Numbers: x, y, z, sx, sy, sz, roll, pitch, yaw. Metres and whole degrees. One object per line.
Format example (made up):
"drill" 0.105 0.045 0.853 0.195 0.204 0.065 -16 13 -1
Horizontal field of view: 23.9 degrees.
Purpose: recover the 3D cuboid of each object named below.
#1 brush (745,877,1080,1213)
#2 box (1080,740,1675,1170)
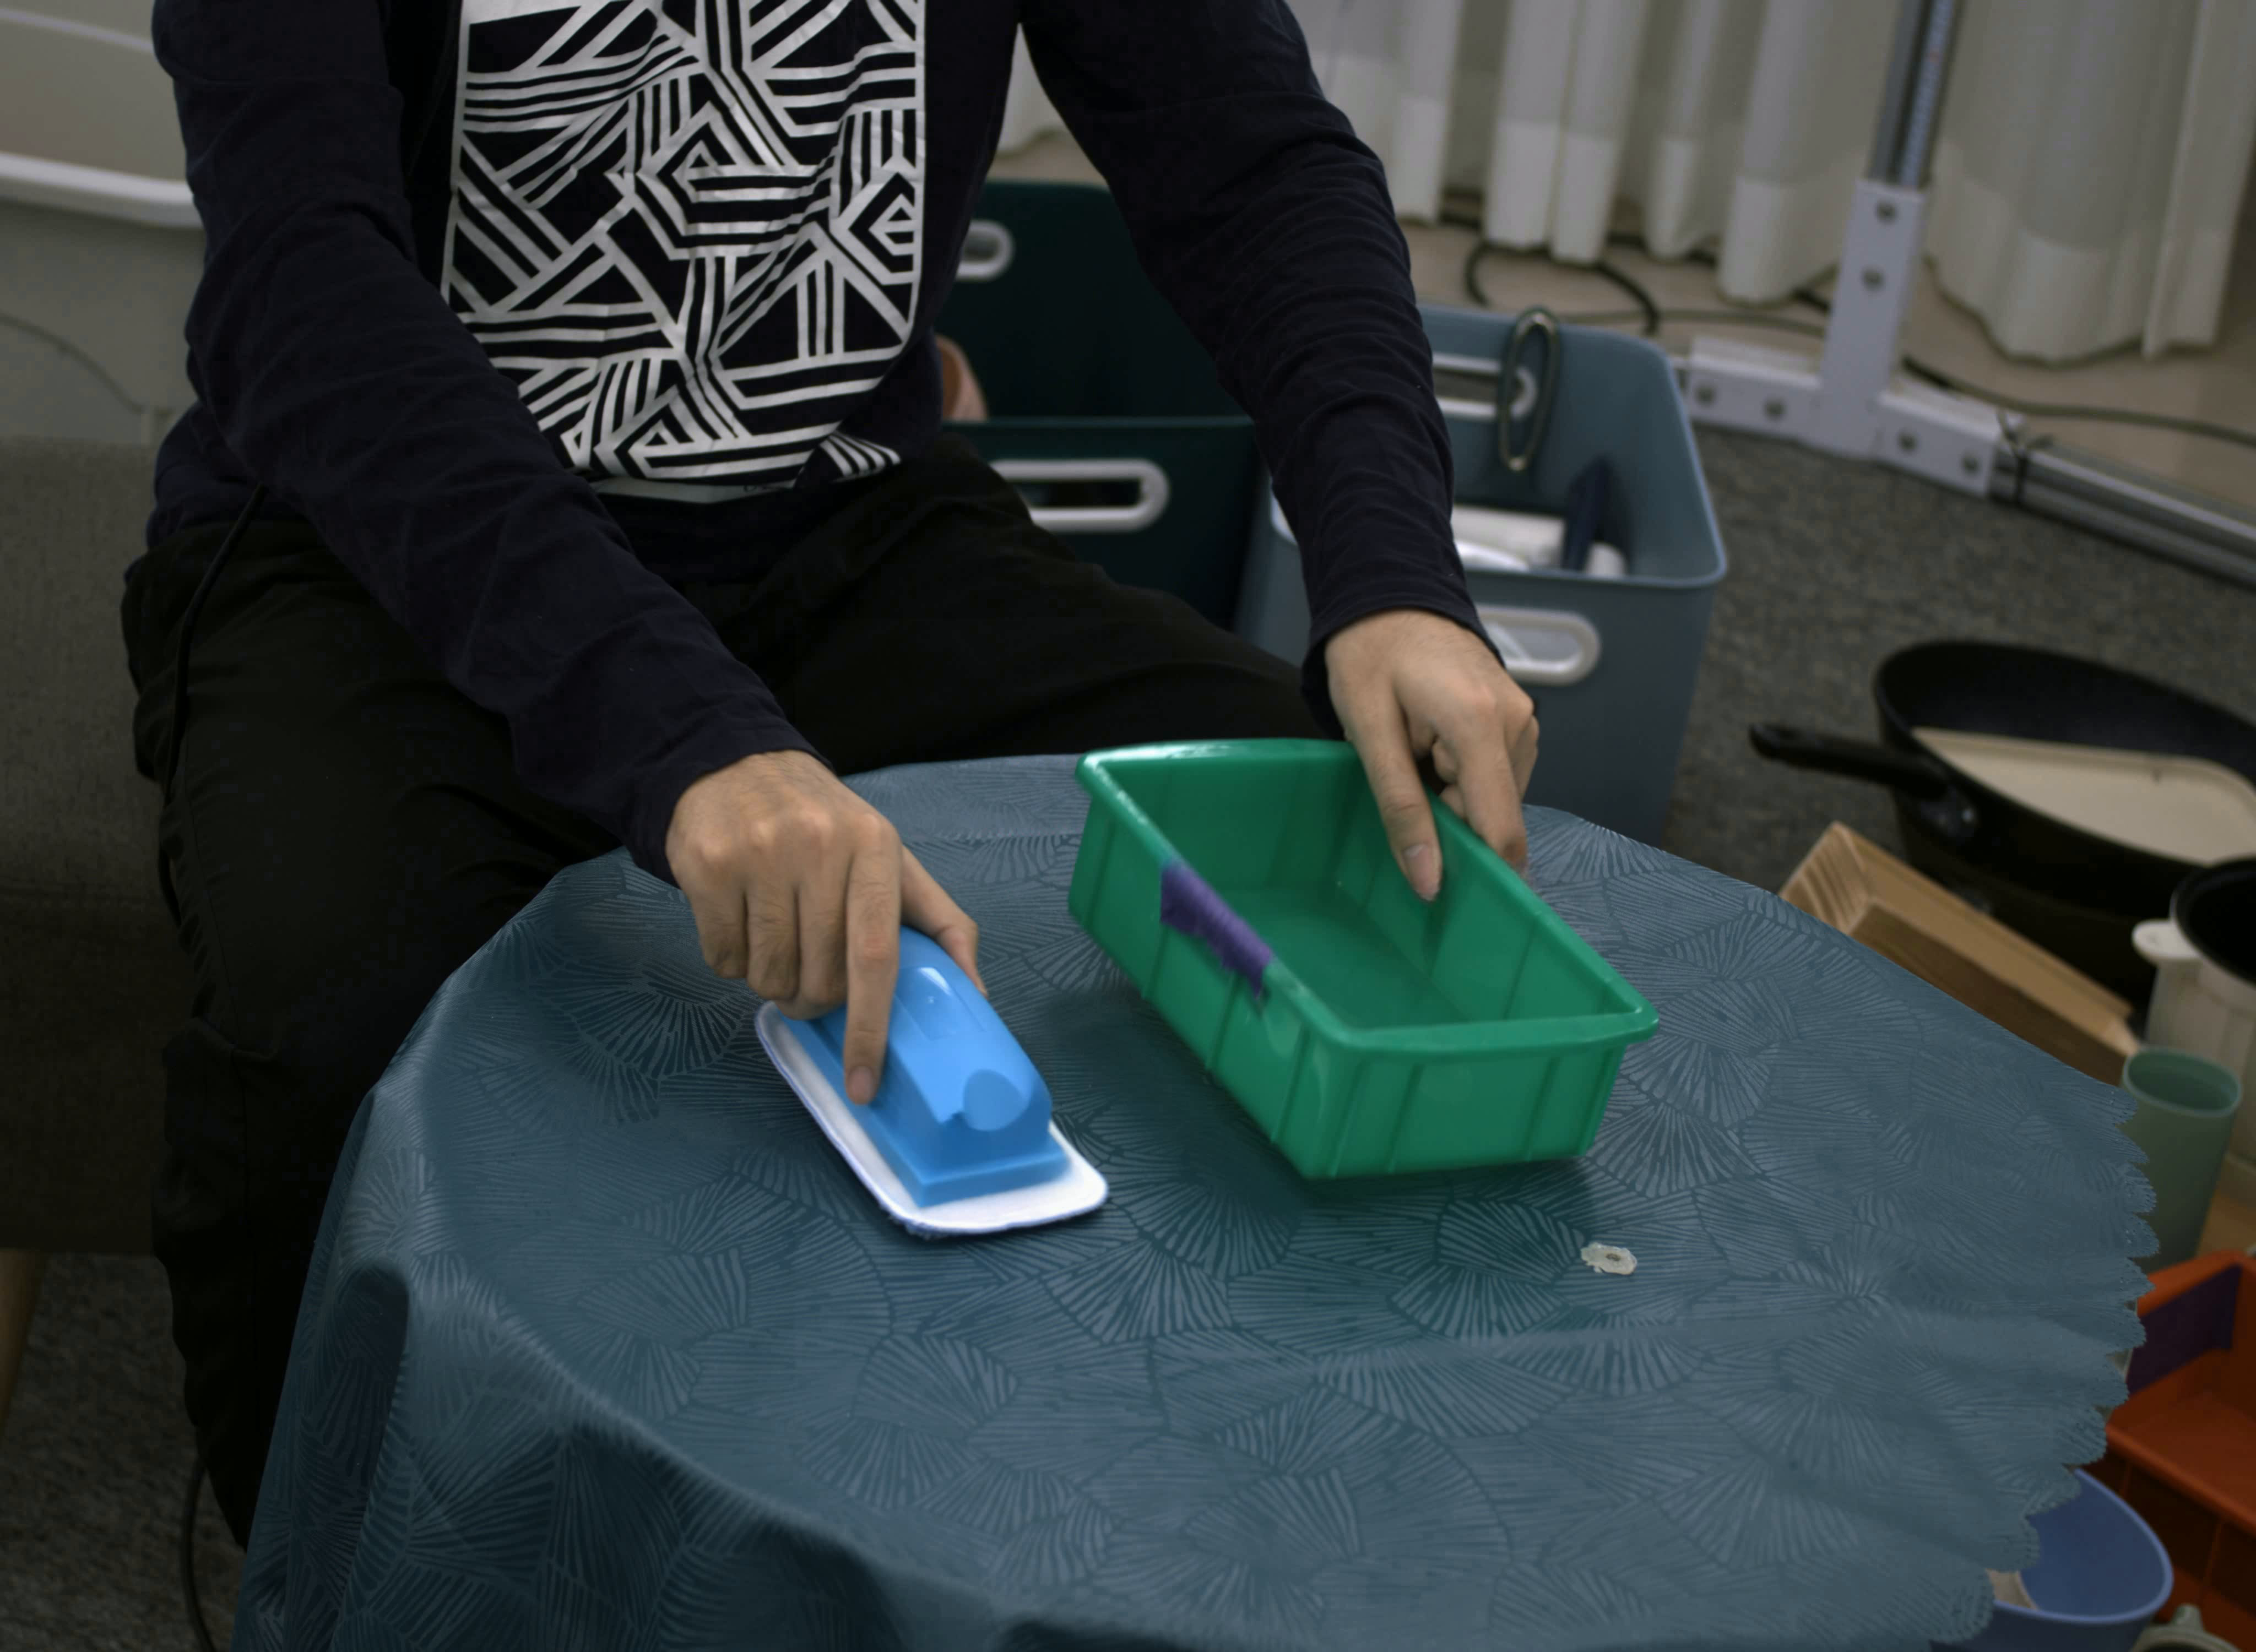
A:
"brush" -0.071 0.067 1.809 0.083 0.055 0.145 -9 45 -23
"box" 0.080 0.046 1.872 0.137 0.065 0.212 -3 31 -31
